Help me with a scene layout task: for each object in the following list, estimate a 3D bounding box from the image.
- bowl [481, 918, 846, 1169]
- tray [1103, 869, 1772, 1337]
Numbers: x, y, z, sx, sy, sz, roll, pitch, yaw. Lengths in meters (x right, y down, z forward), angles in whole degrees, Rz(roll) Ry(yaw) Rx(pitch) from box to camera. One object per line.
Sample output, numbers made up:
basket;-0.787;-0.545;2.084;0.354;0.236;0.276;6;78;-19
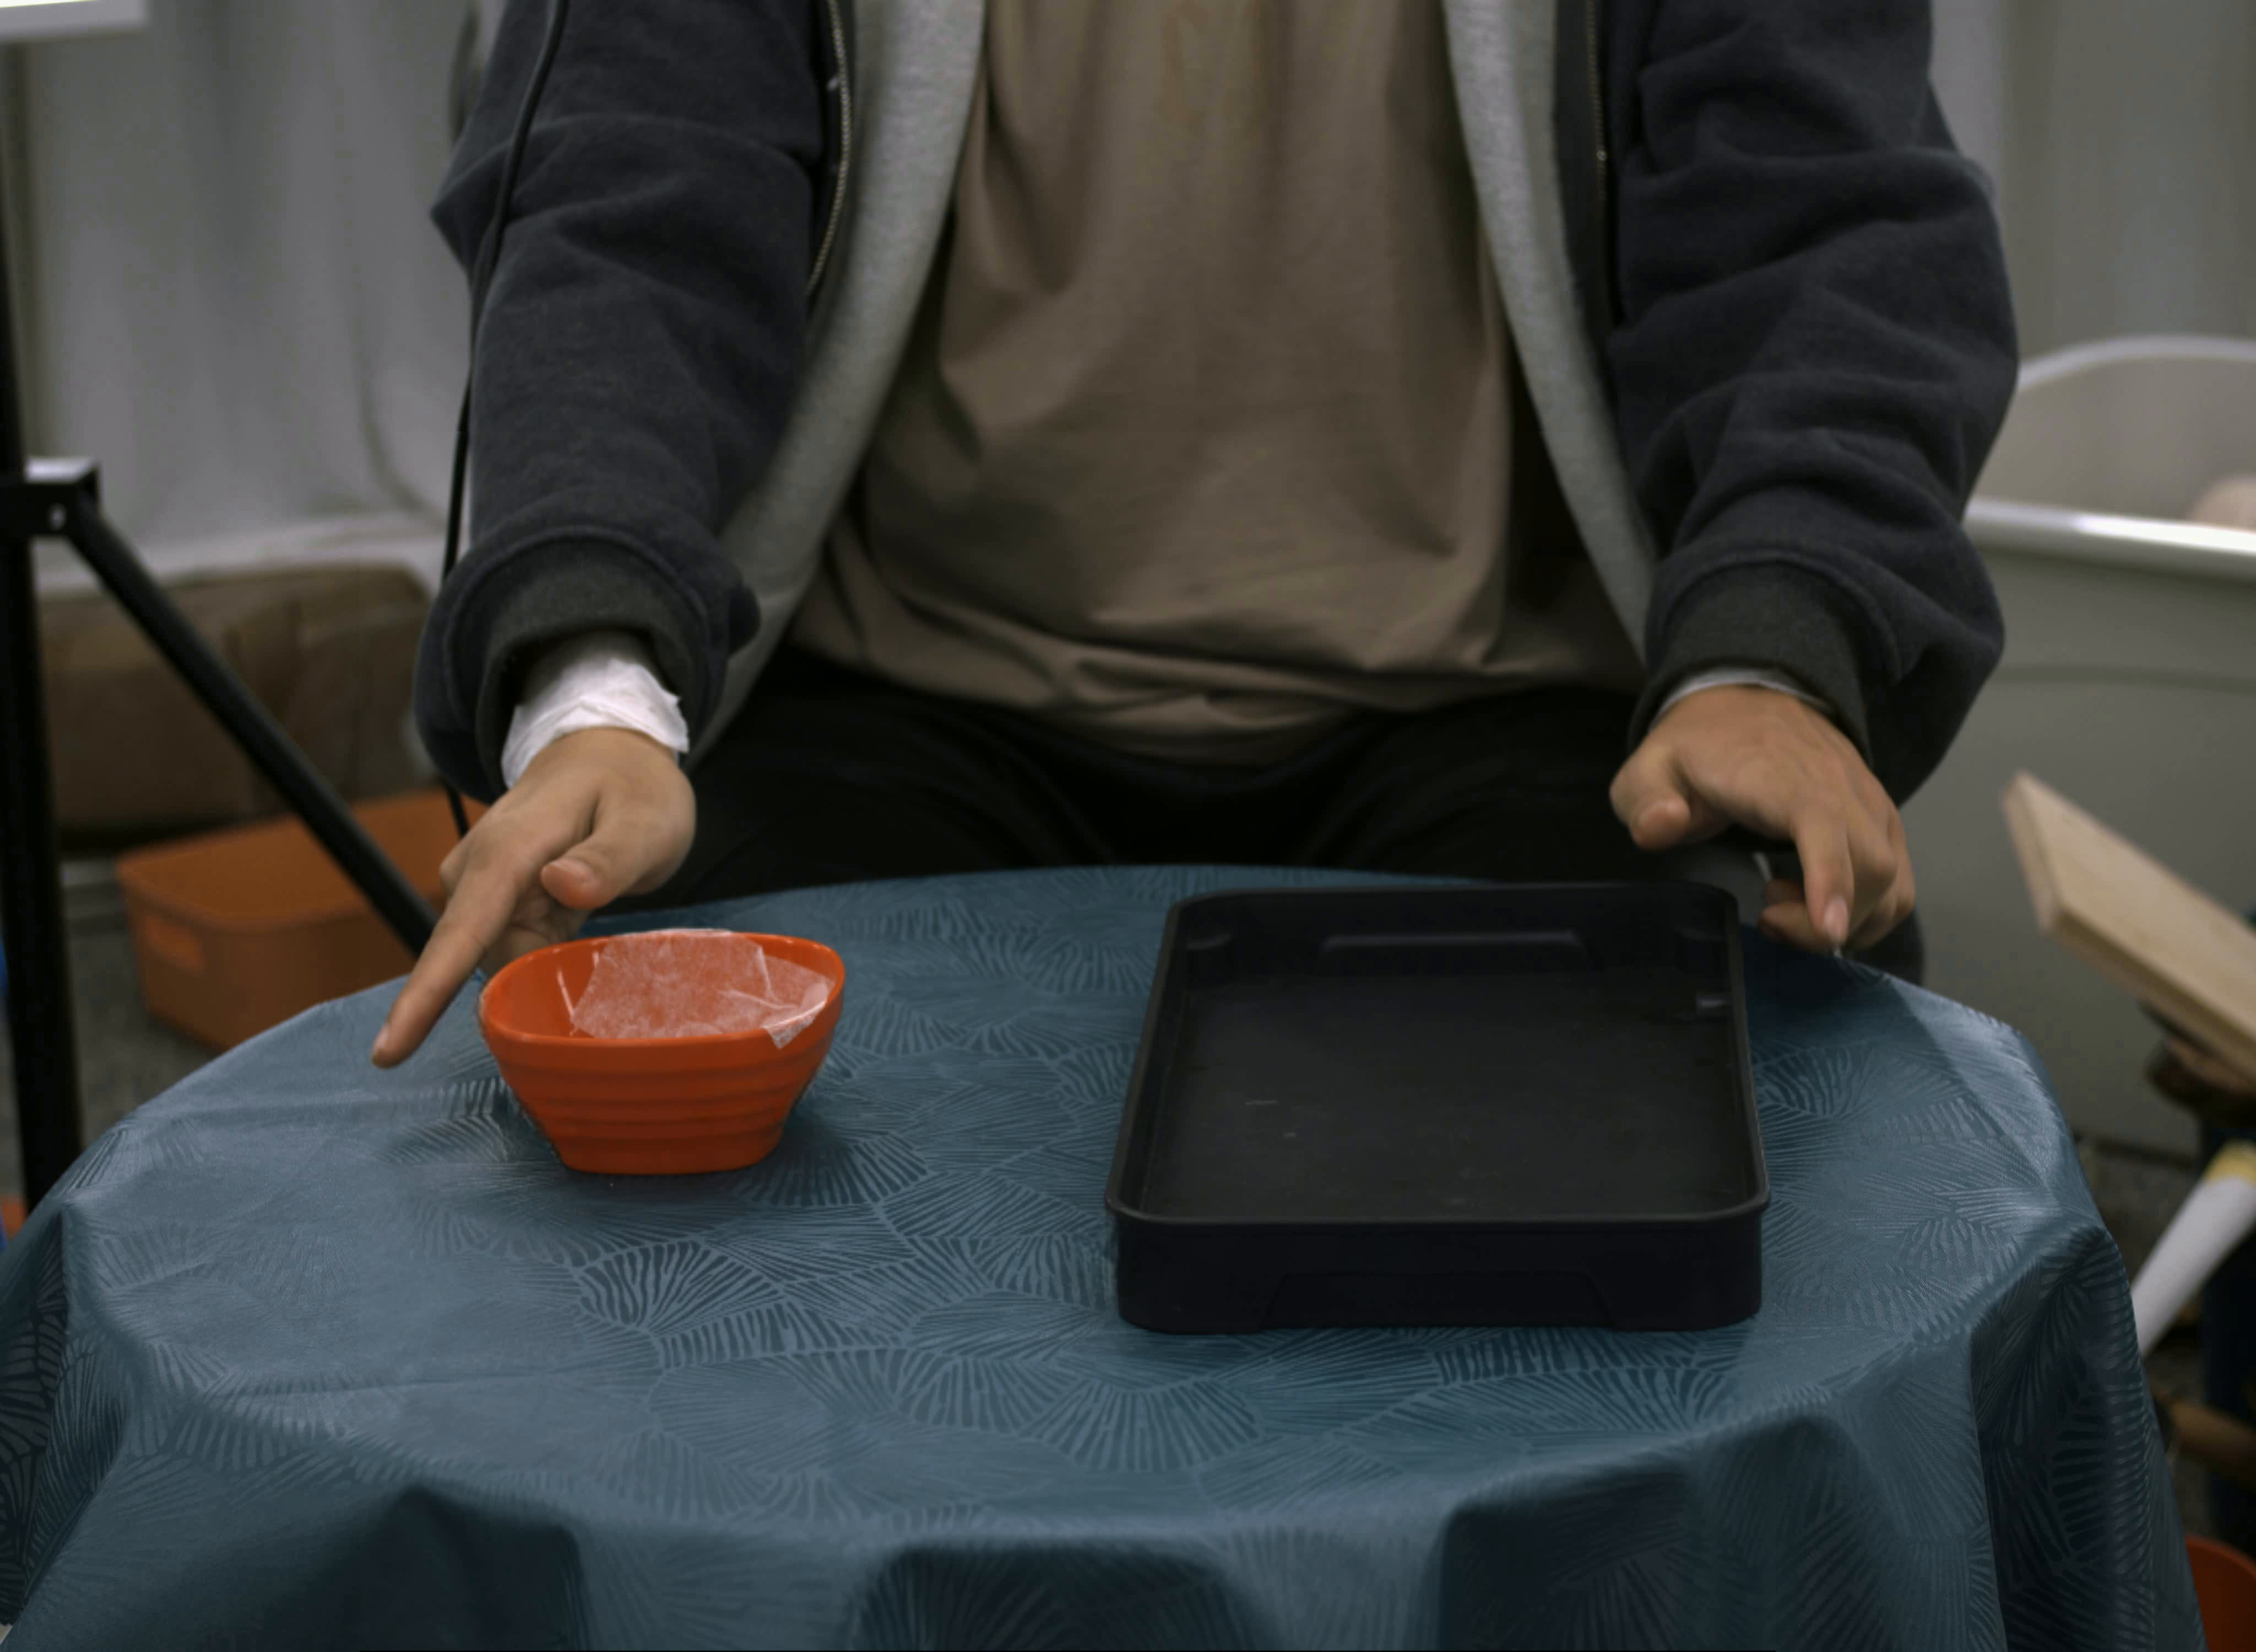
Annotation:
bowl;-0.139;0.069;1.621;0.118;0.051;0.119;-4;18;0
tray;0.094;0.078;1.583;0.184;0.037;0.318;-1;16;5
